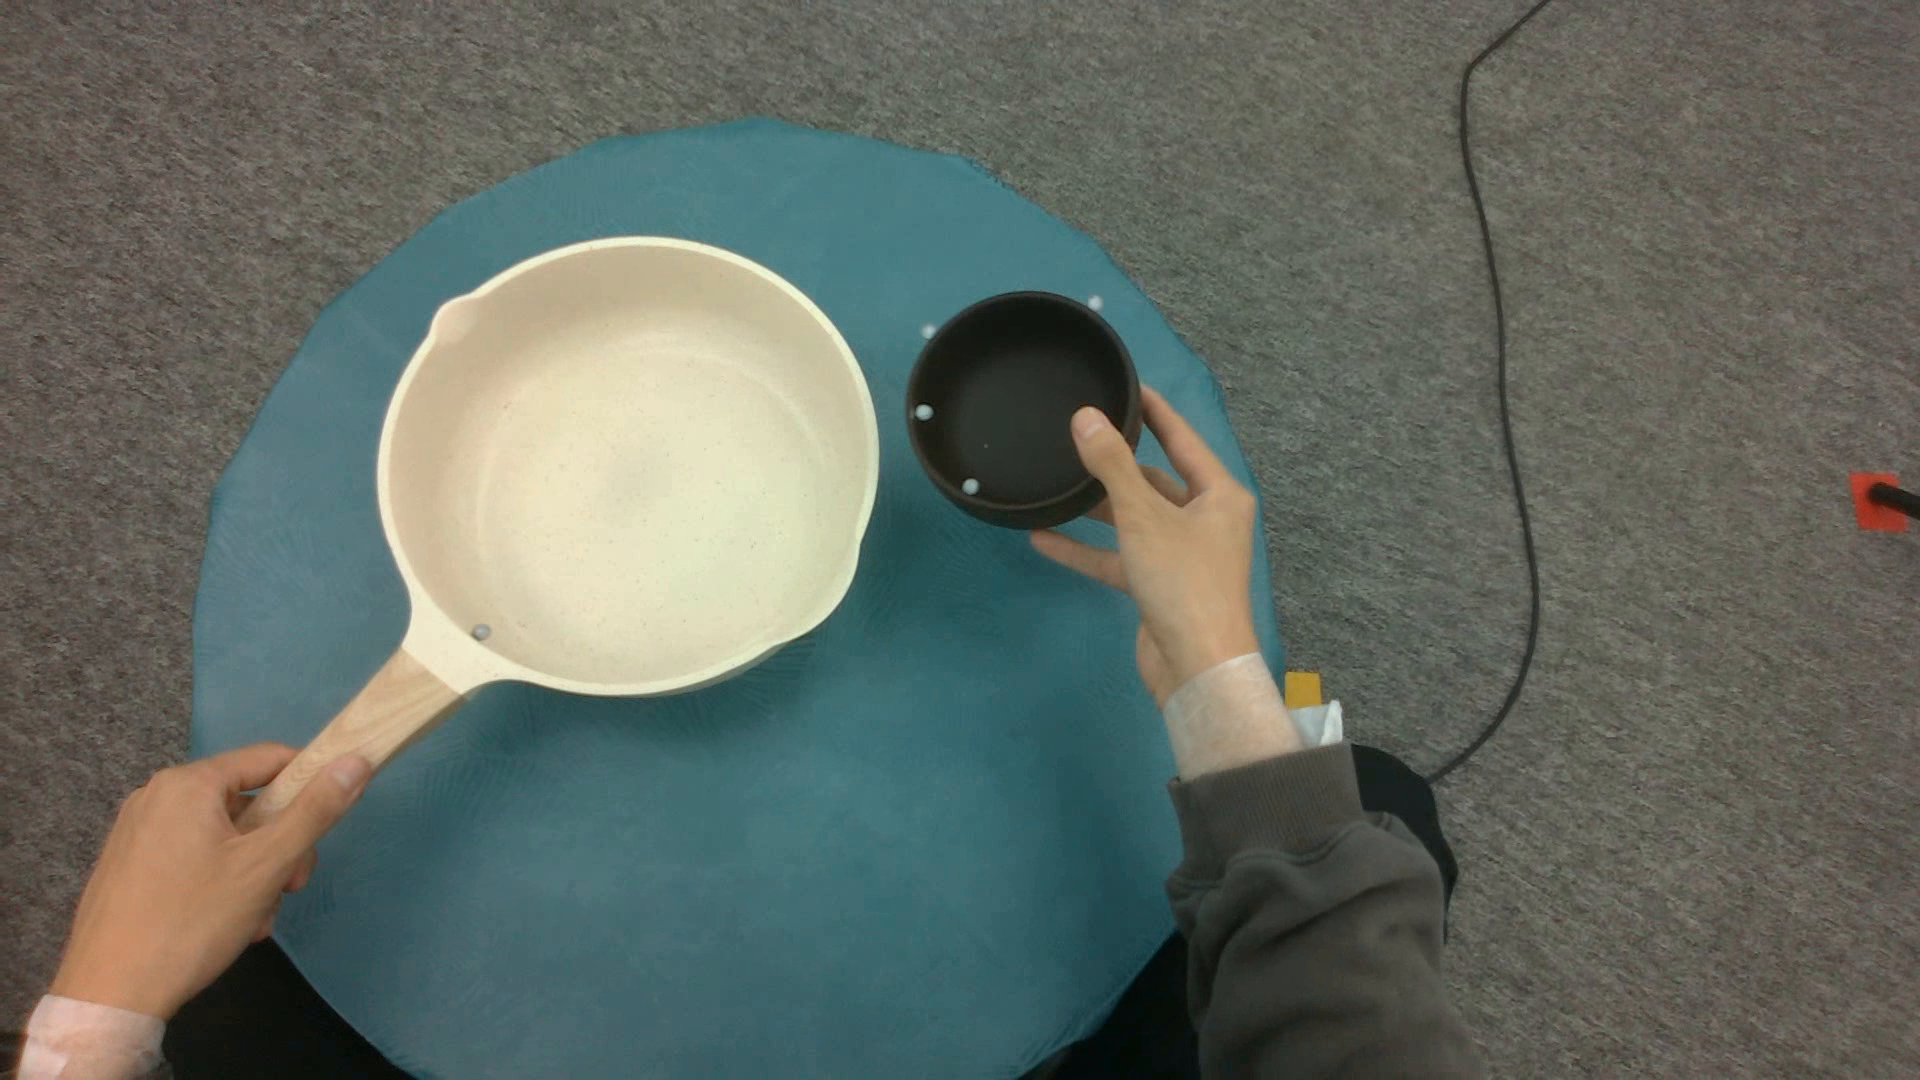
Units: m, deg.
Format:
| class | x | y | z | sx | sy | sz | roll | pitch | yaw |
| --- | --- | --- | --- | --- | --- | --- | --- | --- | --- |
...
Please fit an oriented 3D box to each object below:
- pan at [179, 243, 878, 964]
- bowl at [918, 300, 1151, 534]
| class | x | y | z | sx | sy | sz | roll | pitch | yaw |
| --- | --- | --- | --- | --- | --- | --- | --- | --- | --- |
| pan | -0.225 | 0.035 | 0.729 | 0.263 | 0.101 | 0.436 | 37 | 74 | 7 |
| bowl | 0.042 | -0.058 | 0.717 | 0.118 | 0.070 | 0.118 | -3 | 74 | 11 |
